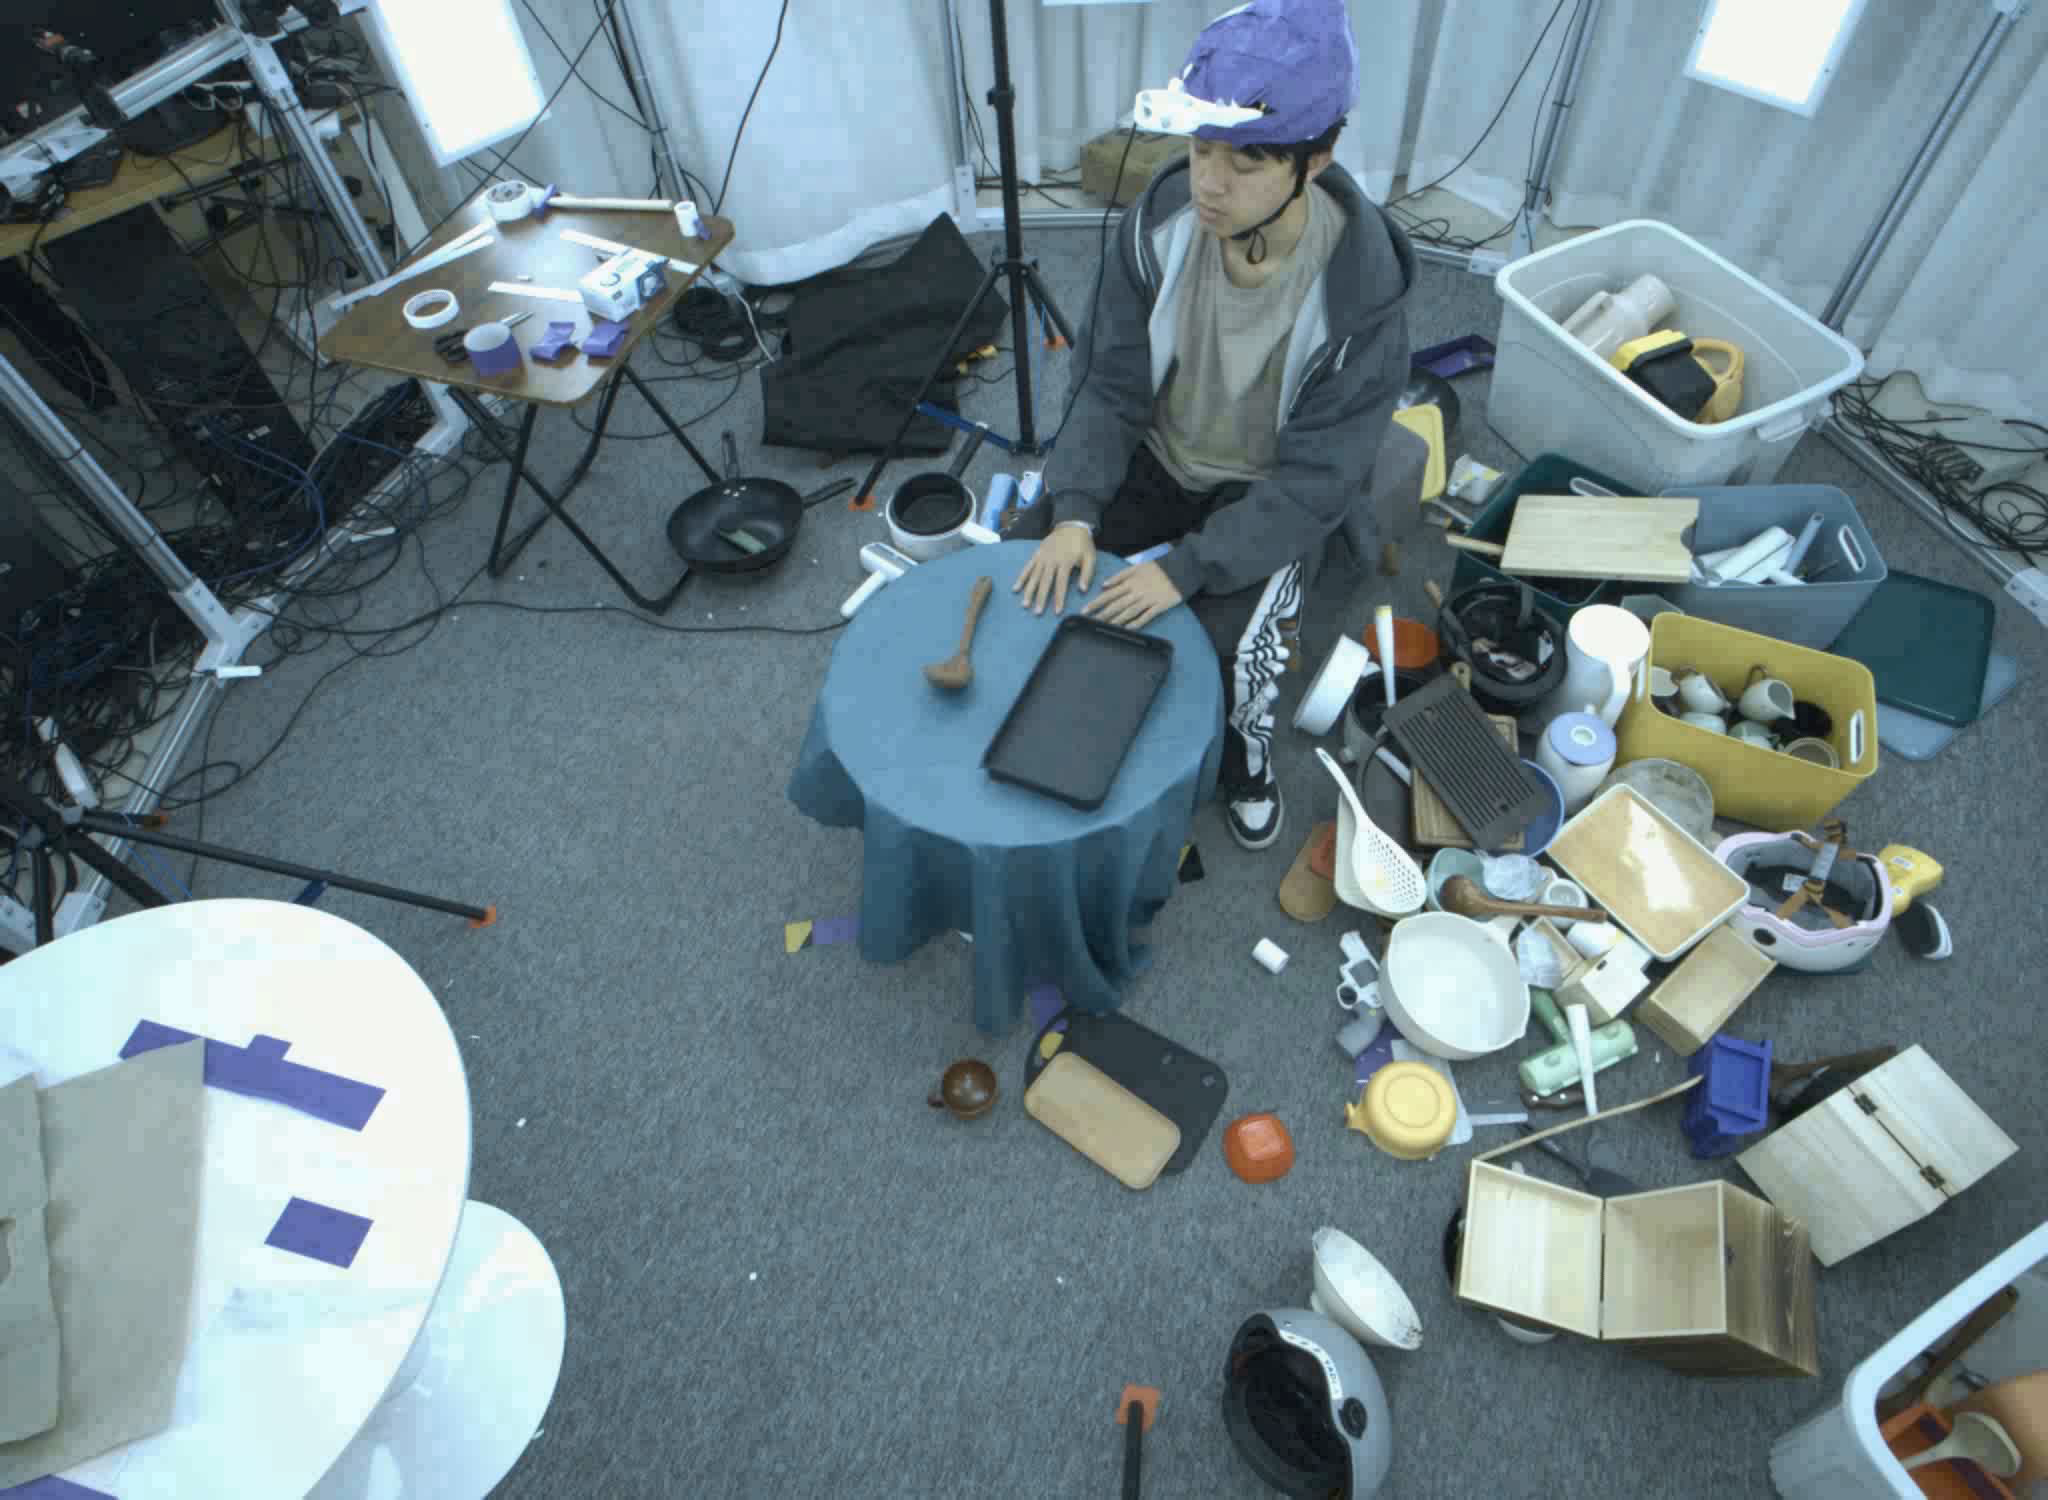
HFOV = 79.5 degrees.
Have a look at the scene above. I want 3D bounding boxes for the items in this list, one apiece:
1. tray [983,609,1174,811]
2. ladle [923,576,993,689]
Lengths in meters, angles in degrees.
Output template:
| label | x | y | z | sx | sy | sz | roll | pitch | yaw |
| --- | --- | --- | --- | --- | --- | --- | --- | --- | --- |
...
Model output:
| label | x | y | z | sx | sy | sz | roll | pitch | yaw |
| --- | --- | --- | --- | --- | --- | --- | --- | --- | --- |
| tray | 0.084 | -0.065 | 1.807 | 0.182 | 0.037 | 0.318 | 19 | 59 | 15 |
| ladle | -0.091 | -0.192 | 1.890 | 0.076 | 0.066 | 0.259 | 9 | 55 | 10 |
